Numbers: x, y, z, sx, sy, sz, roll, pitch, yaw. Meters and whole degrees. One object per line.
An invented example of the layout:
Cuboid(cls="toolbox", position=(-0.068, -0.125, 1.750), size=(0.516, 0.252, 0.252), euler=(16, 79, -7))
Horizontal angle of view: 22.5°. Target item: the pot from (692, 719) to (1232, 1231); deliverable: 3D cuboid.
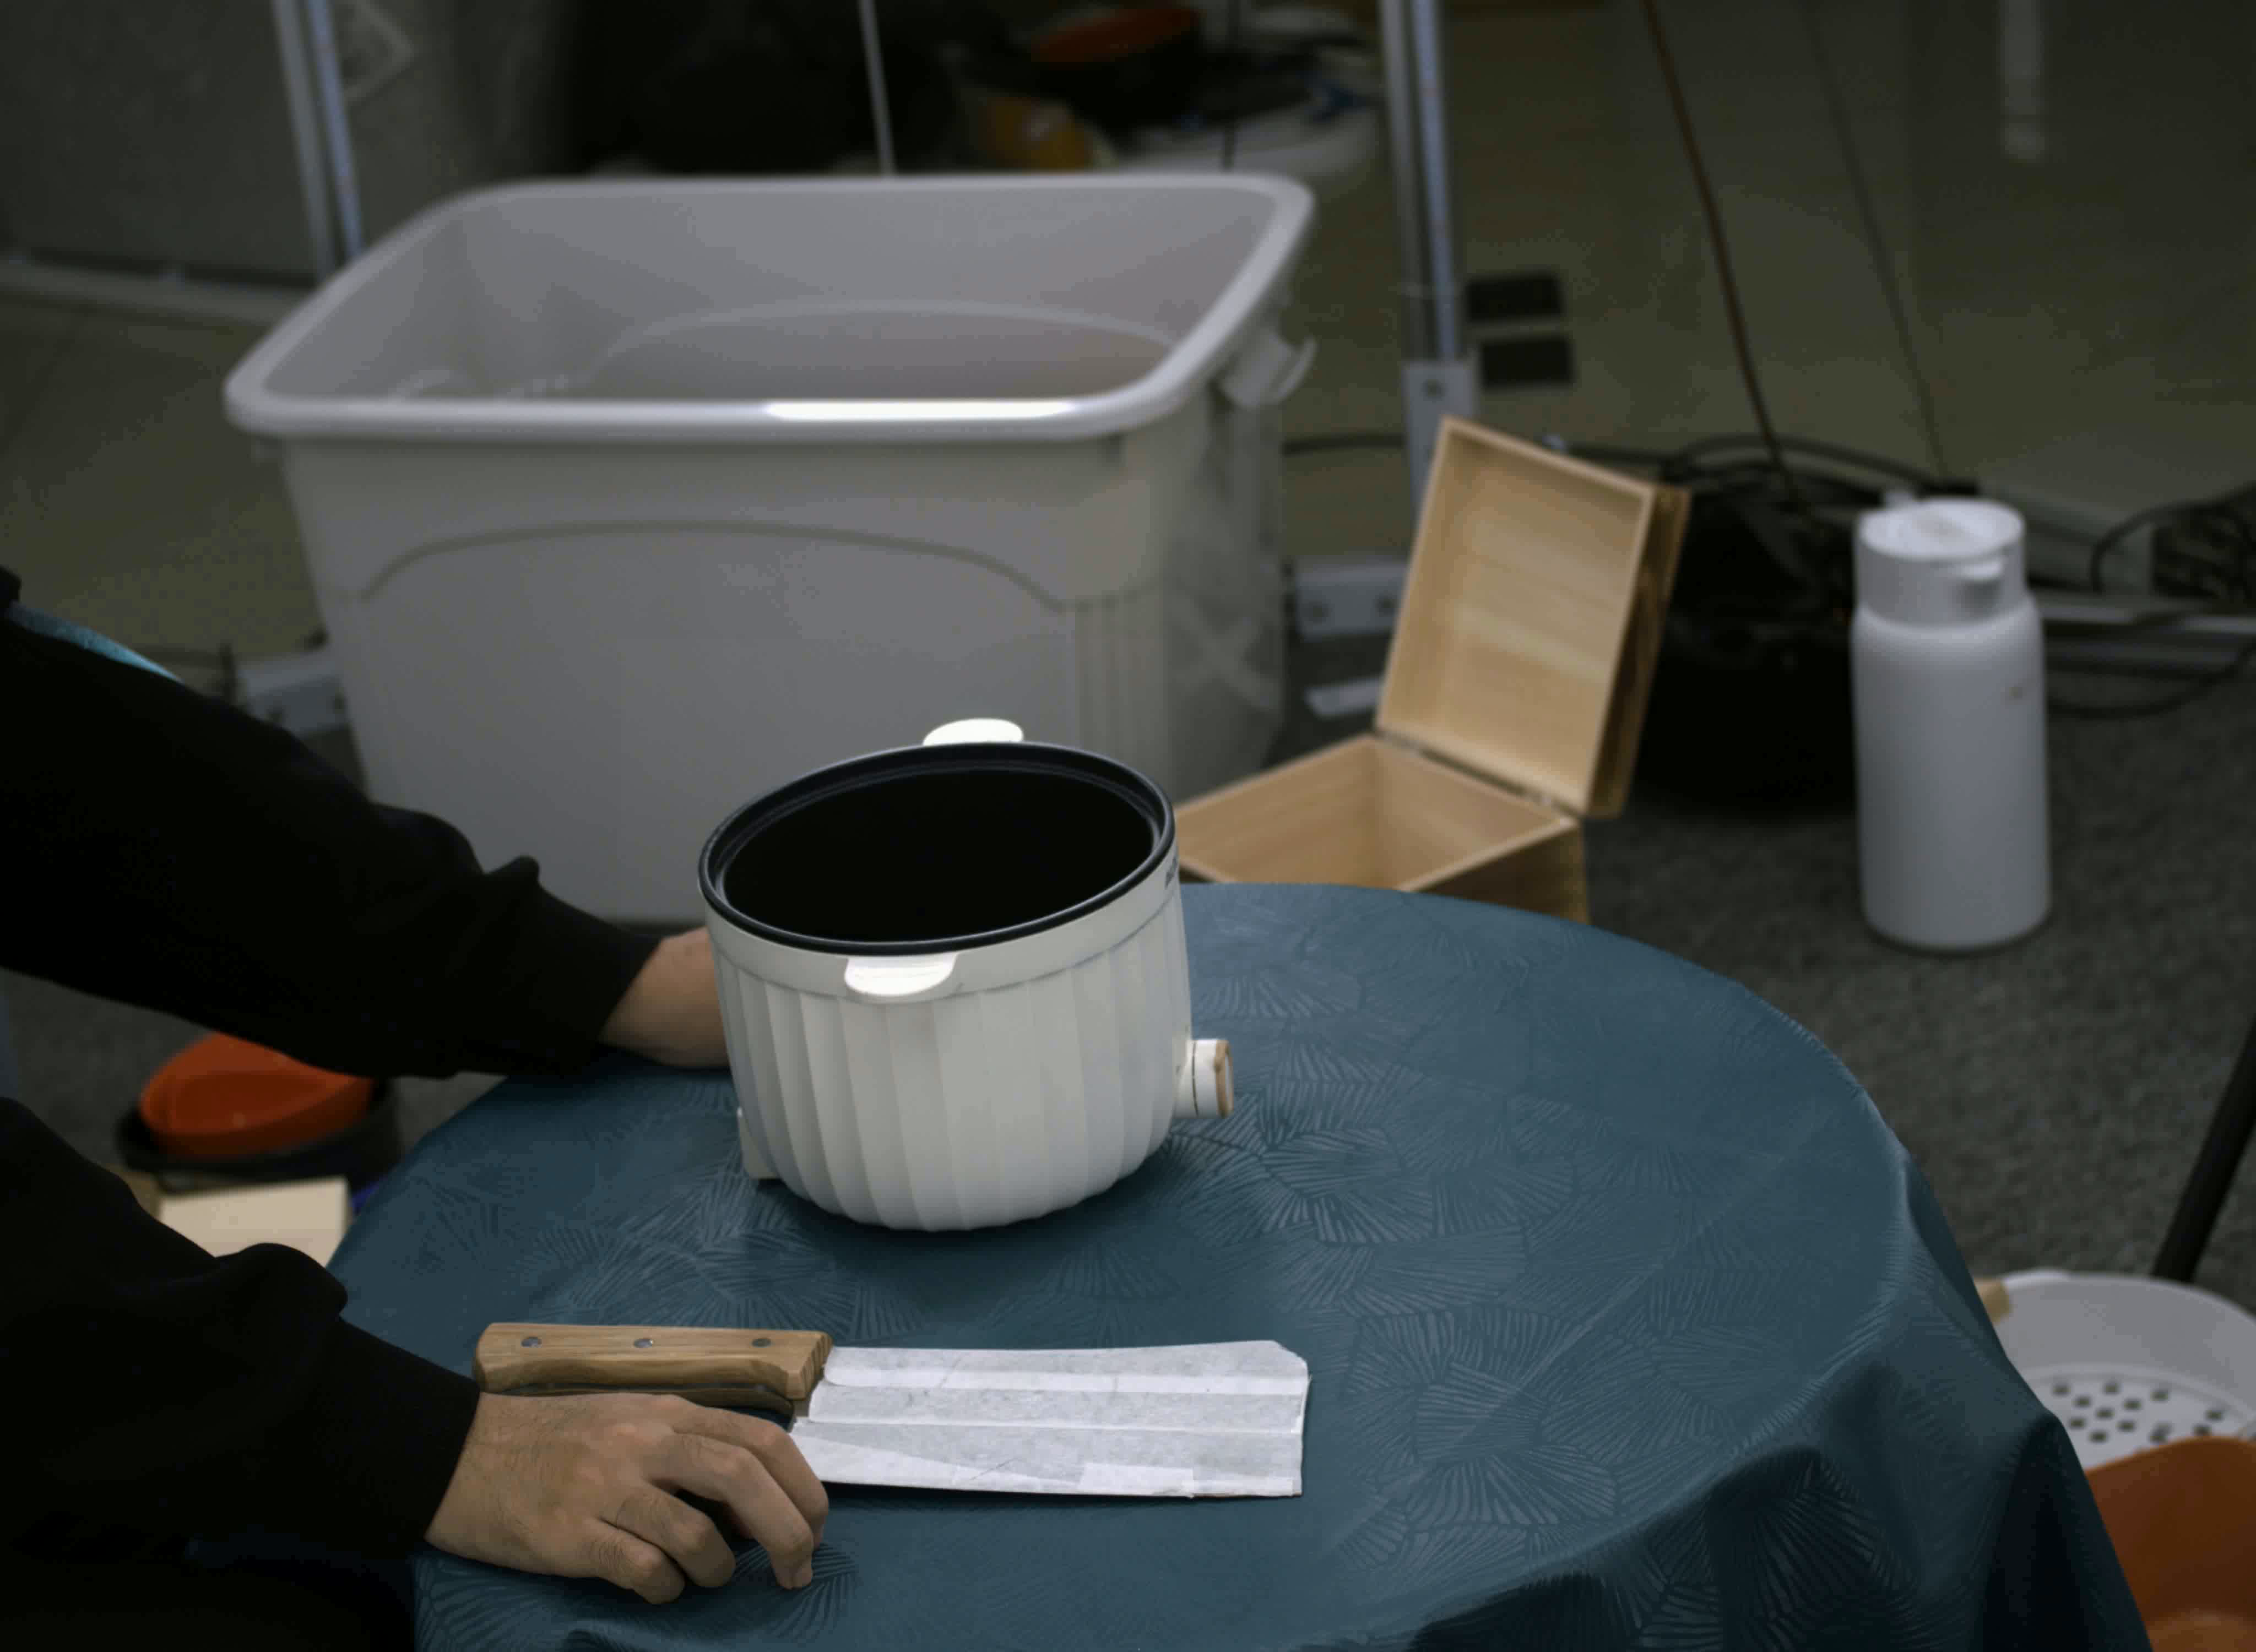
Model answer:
Cuboid(cls="pot", position=(-0.061, 0.064, 2.155), size=(0.190, 0.145, 0.237), euler=(-5, 26, 9))

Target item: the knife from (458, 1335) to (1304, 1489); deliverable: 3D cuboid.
Cuboid(cls="knife", position=(-0.086, 0.203, 2.009), size=(0.315, 0.022, 0.112), euler=(2, 27, 12))
